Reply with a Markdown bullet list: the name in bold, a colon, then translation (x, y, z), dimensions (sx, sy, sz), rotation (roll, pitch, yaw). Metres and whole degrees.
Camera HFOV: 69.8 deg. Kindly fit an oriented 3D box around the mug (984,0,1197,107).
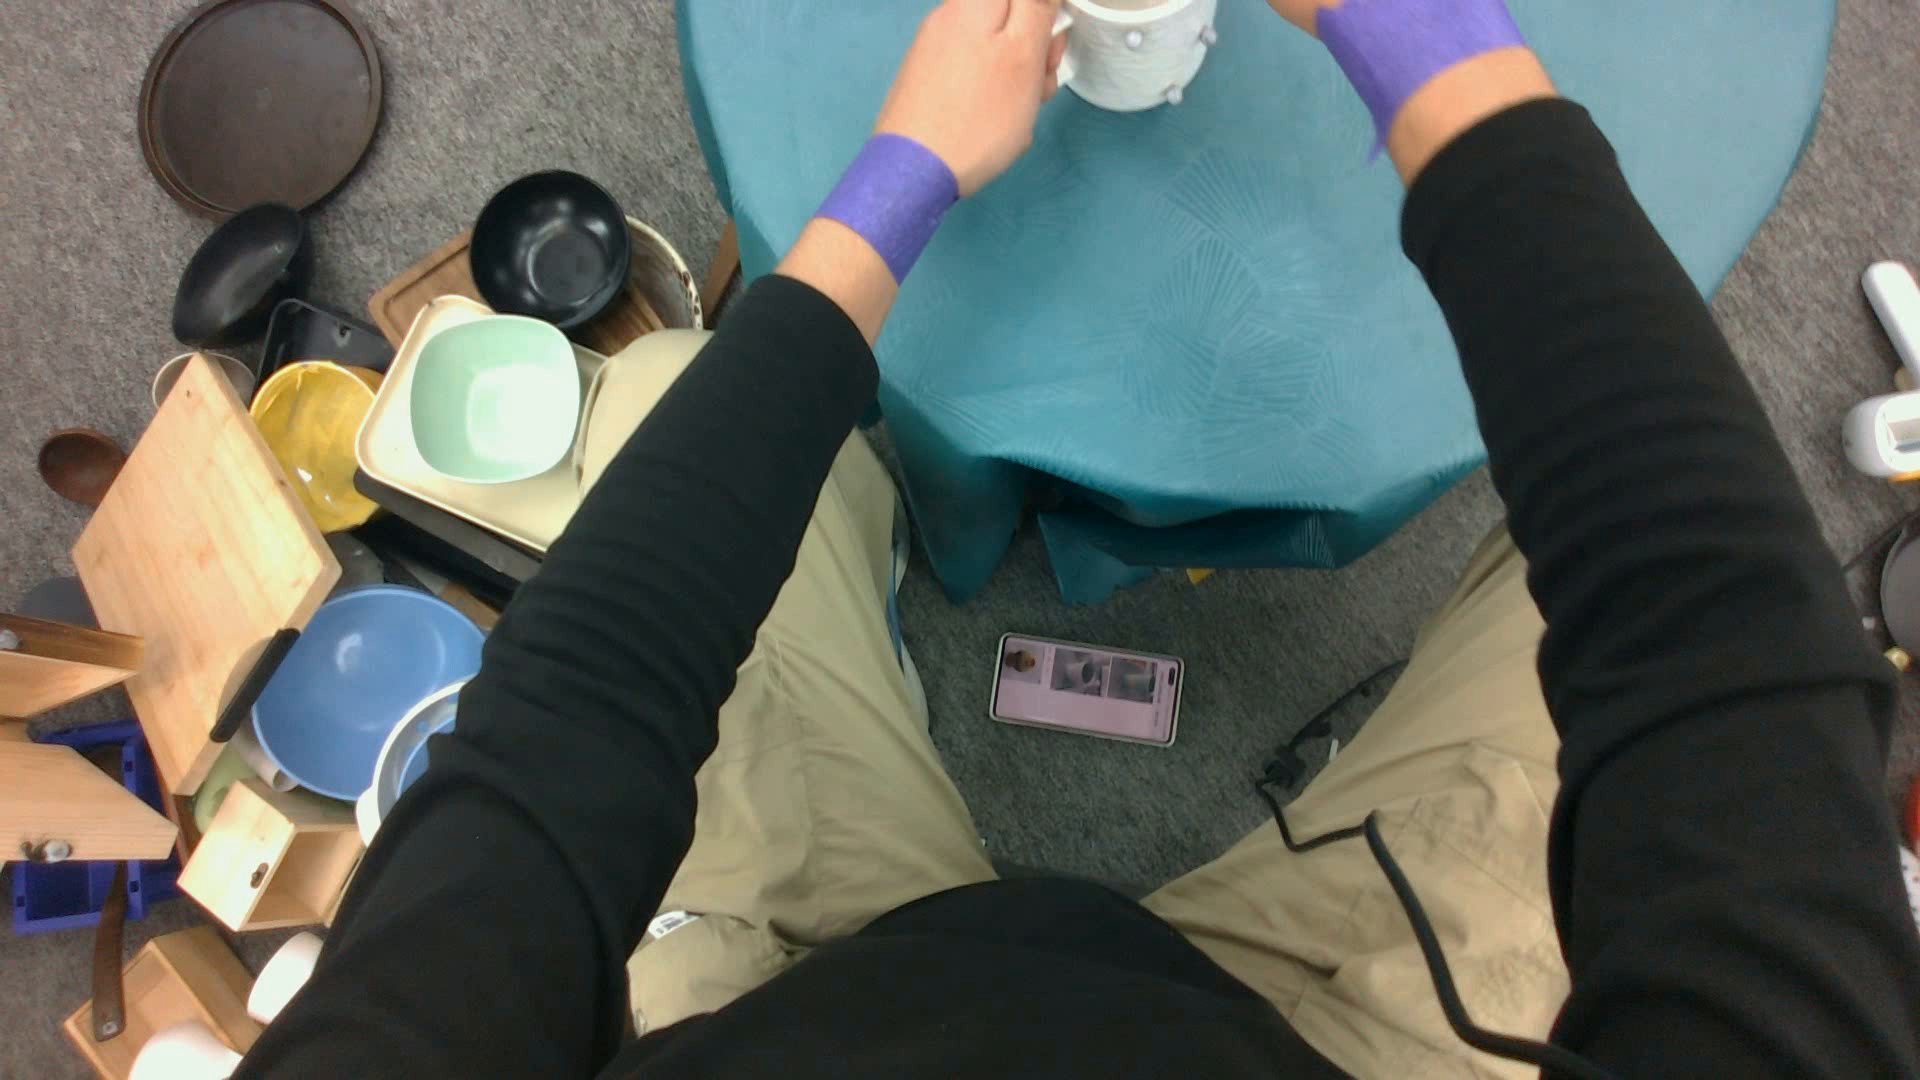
- **mug**: translation (0.062, -0.261, 0.675), dimensions (0.118, 0.102, 0.085), rotation (-40, 81, 0)
